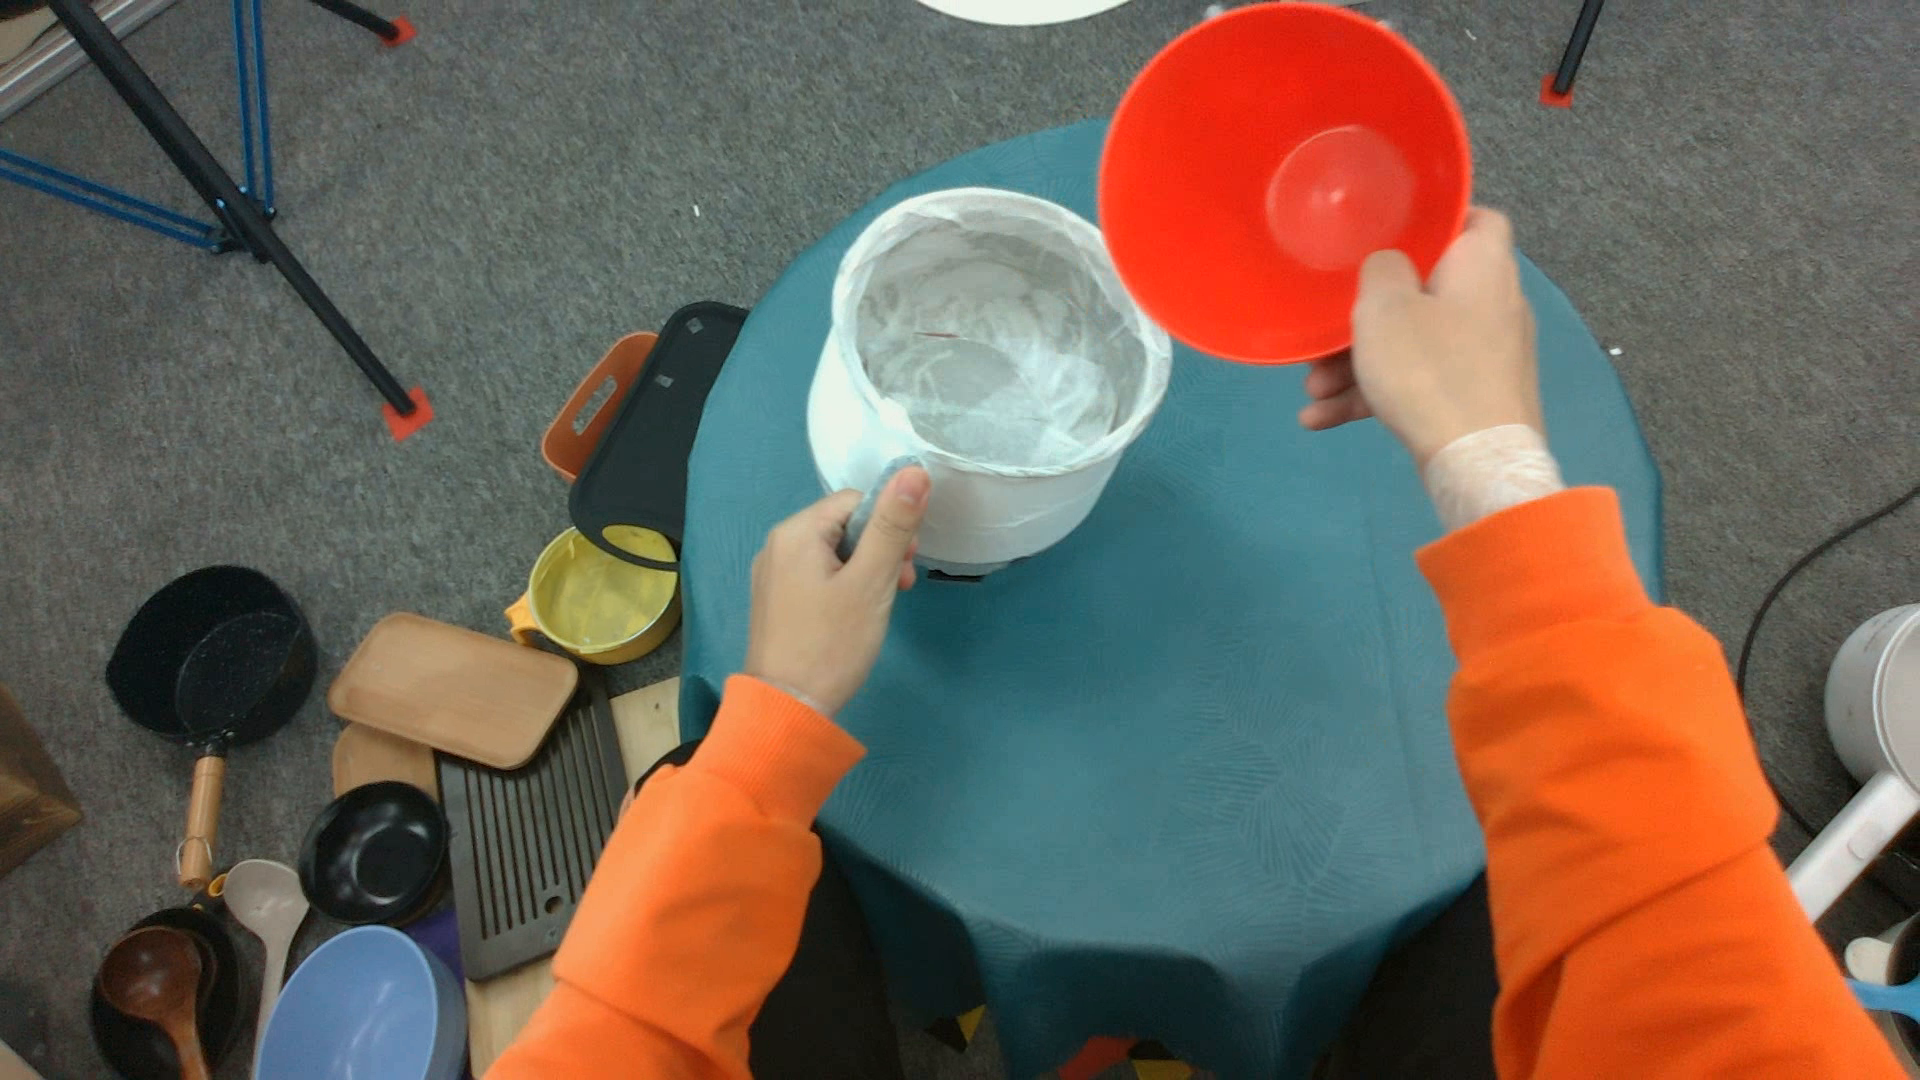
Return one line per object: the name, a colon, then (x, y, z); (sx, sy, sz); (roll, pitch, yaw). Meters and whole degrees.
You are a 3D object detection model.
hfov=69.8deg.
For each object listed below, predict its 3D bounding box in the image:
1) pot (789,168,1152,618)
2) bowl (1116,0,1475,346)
pot: (-0.012, -0.069, 0.735); (0.179, 0.136, 0.235); (28, 60, 1)
bowl: (0.158, -0.165, 0.612); (0.148, 0.147, 0.105); (35, 28, 20)
